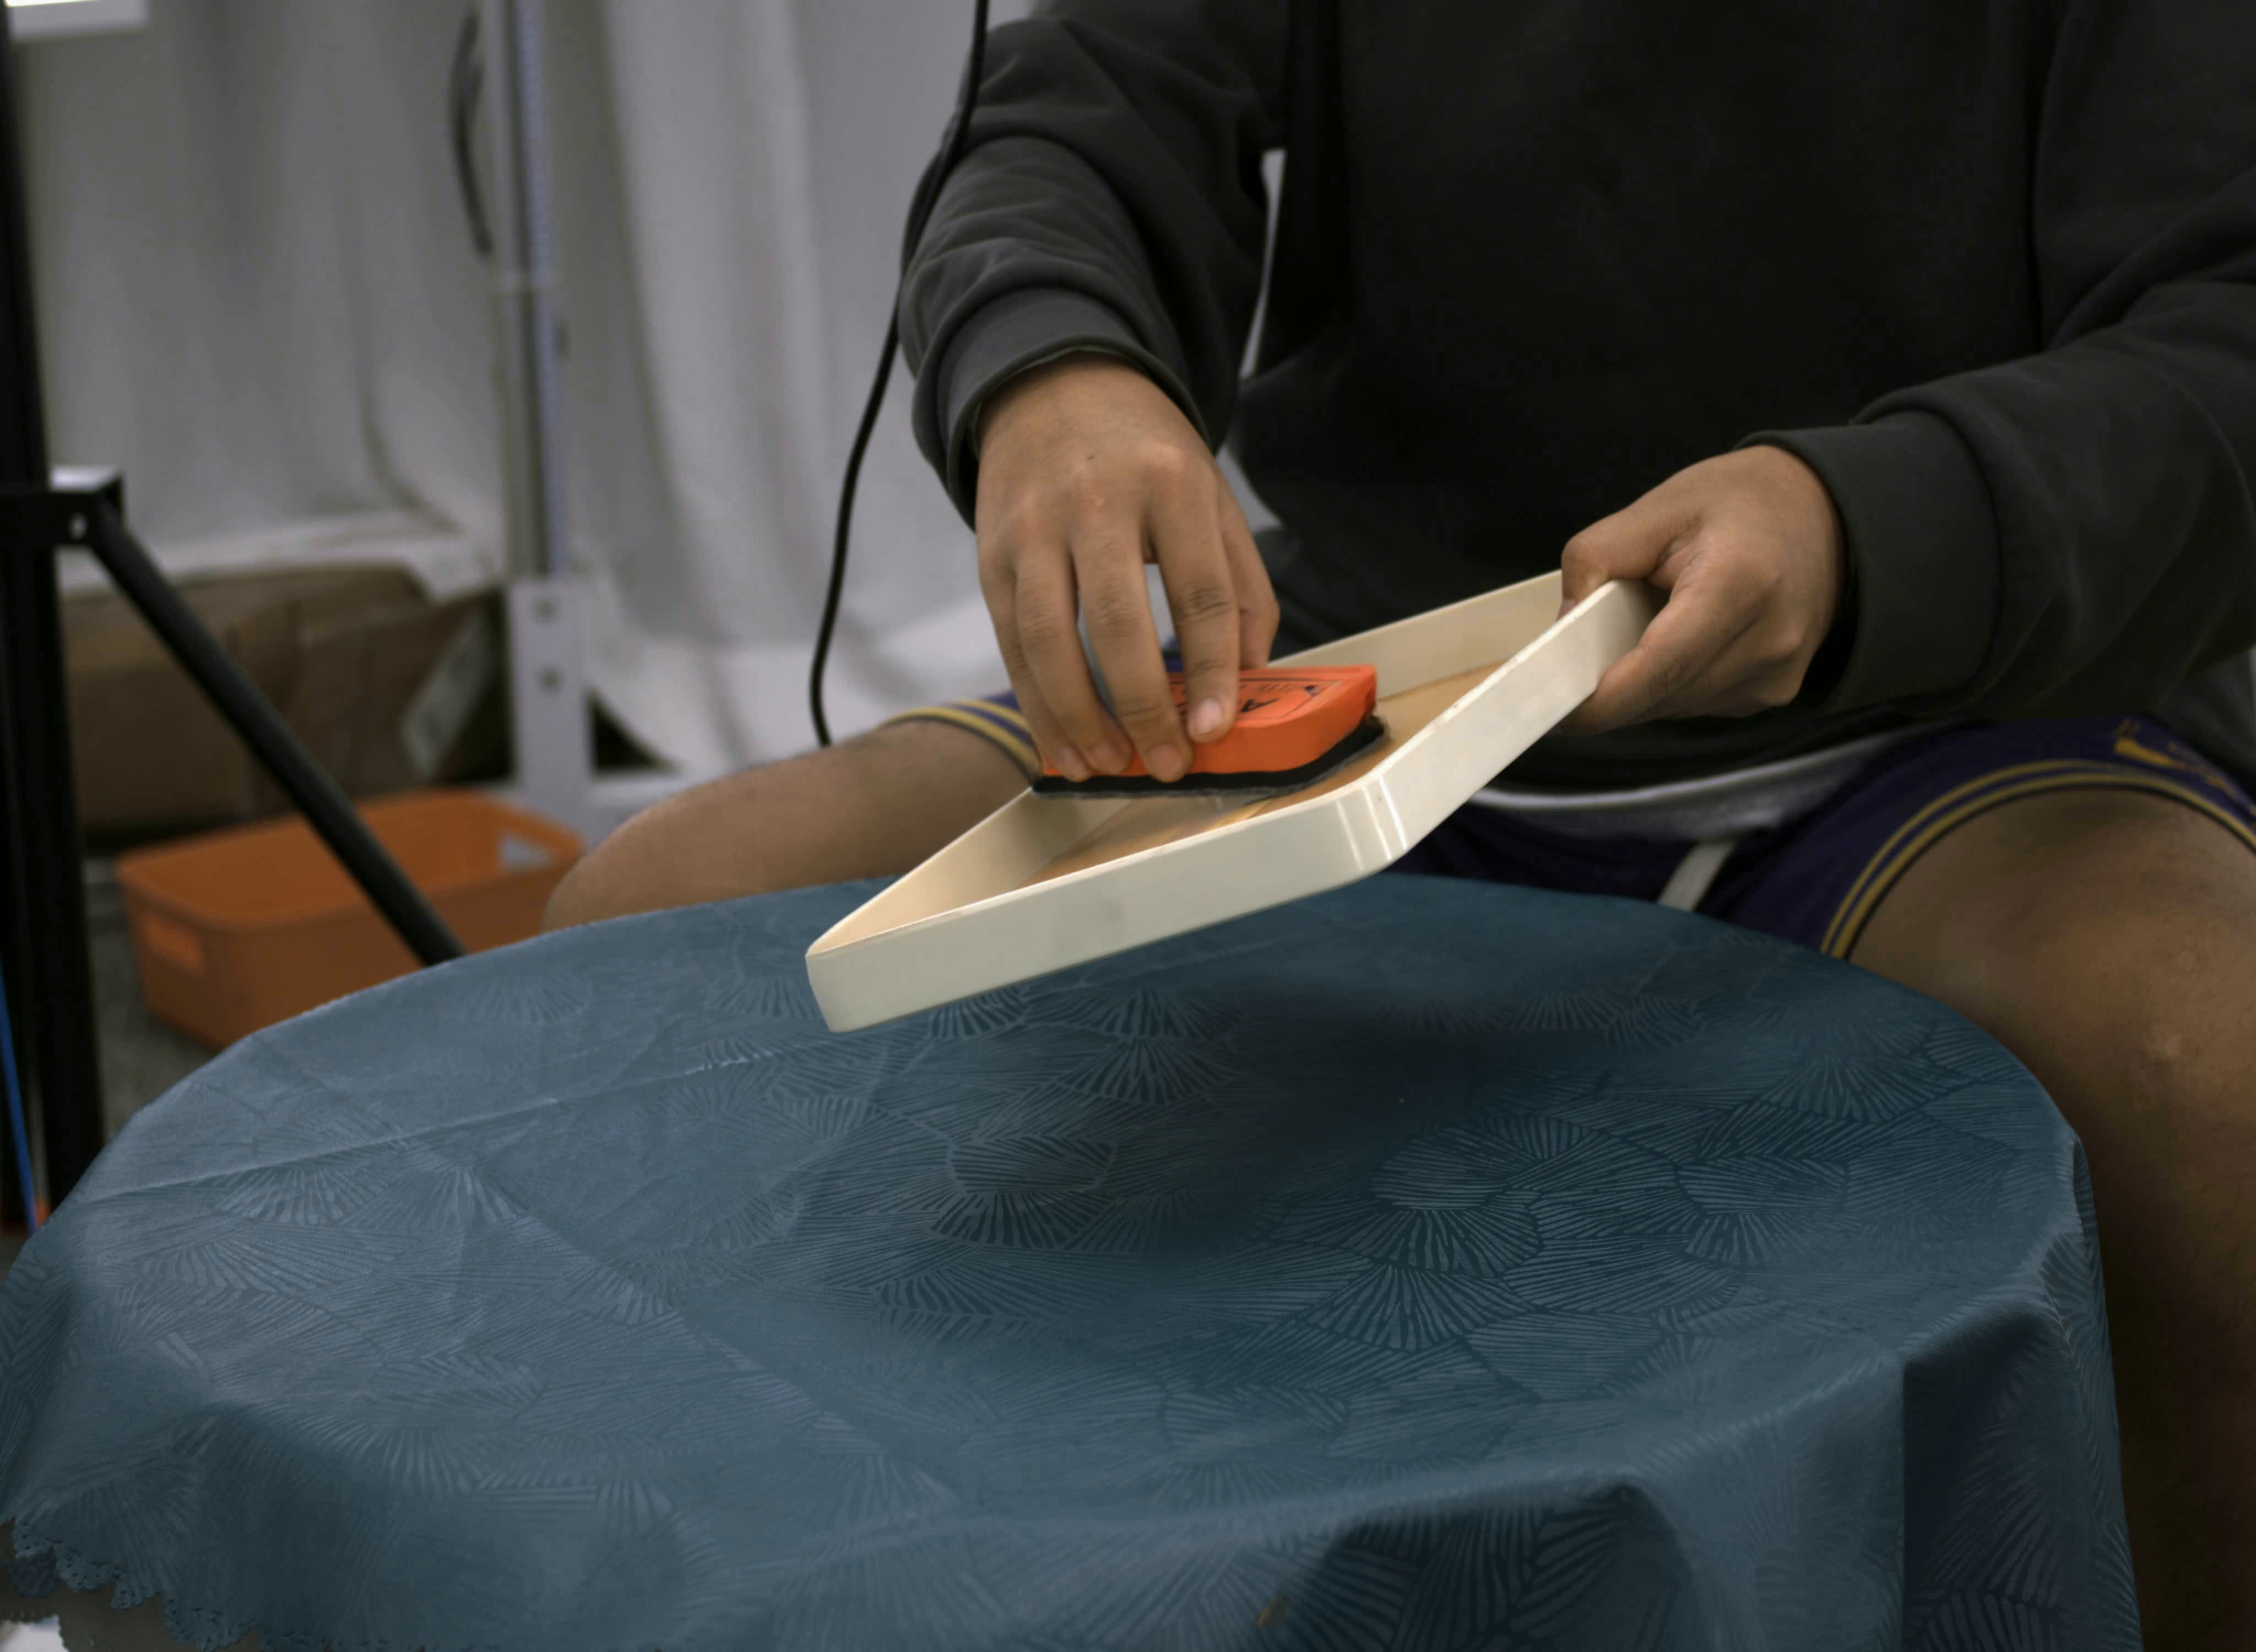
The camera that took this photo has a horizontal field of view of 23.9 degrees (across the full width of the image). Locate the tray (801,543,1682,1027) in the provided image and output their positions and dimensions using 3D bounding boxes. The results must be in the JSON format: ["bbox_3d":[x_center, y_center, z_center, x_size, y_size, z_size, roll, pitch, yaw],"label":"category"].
[{"bbox_3d":[0.041,-0.014,1.598,0.194,0.027,0.296,-17,9,27],"label":"tray"}]

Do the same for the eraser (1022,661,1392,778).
[{"bbox_3d":[0.024,-0.033,1.636,0.110,0.023,0.057,-3,9,38],"label":"eraser"}]
